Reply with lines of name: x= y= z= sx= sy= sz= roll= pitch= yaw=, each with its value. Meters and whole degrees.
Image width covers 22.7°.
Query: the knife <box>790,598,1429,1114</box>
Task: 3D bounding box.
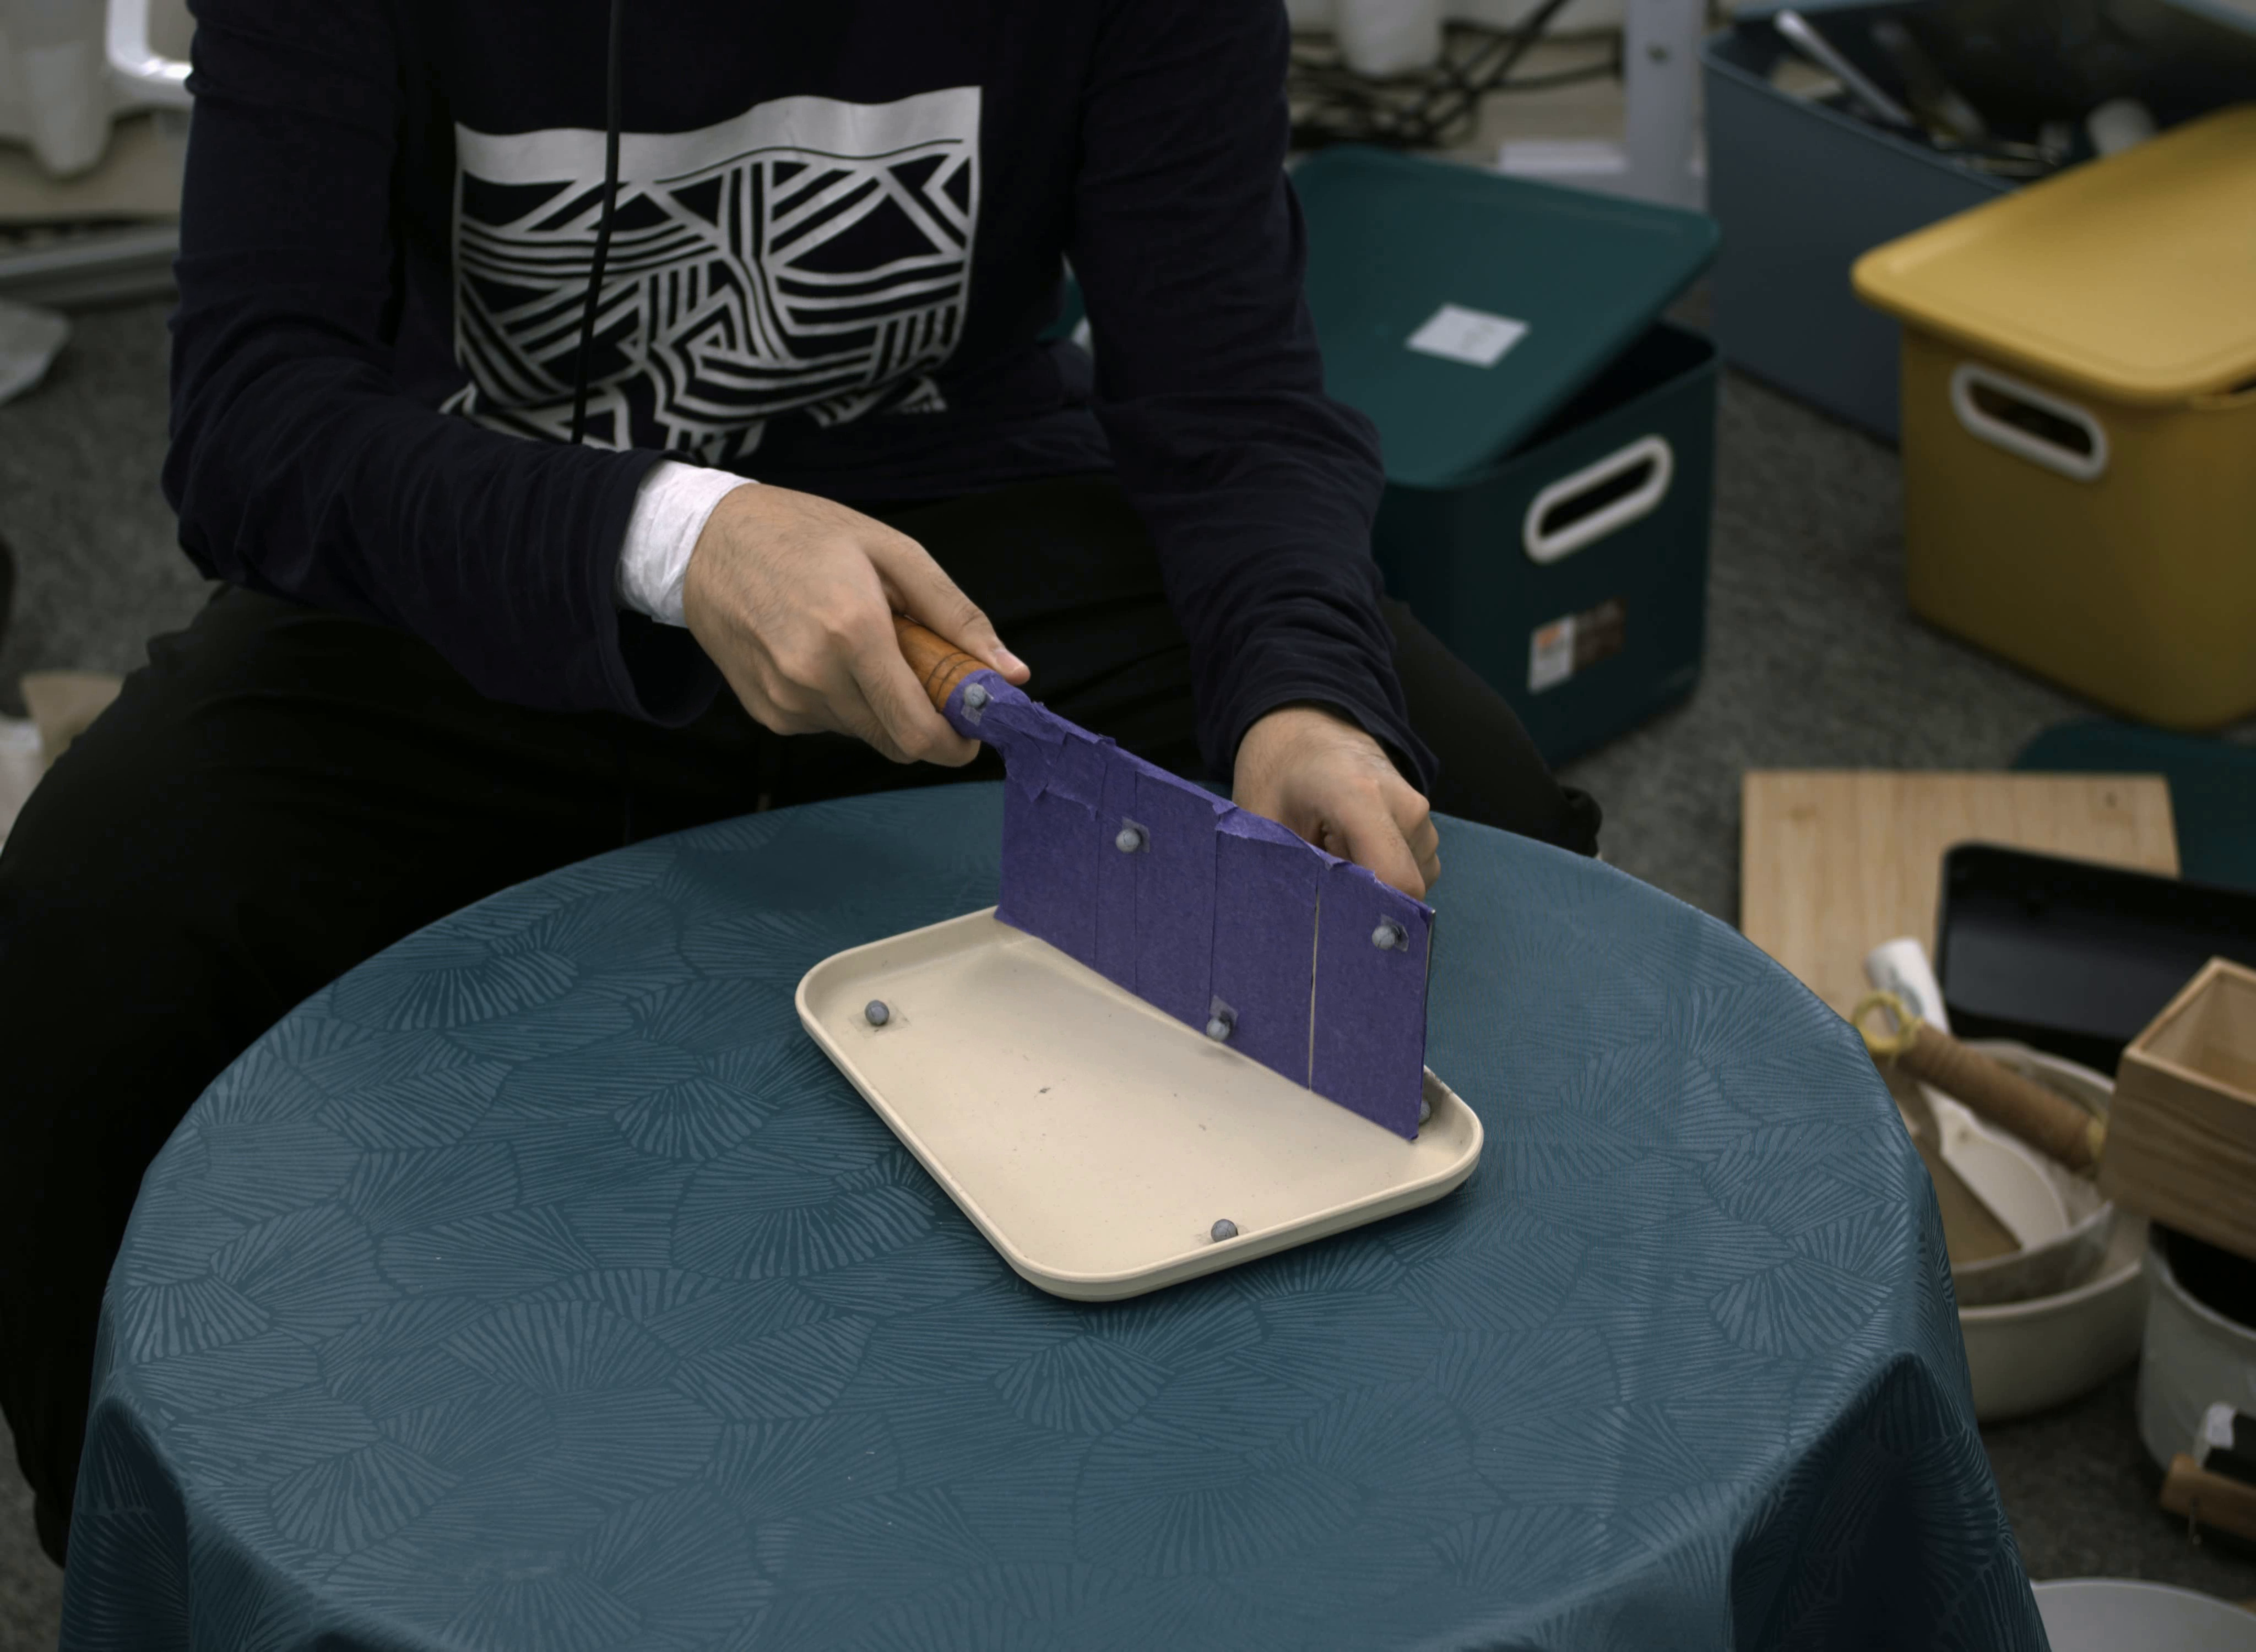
knife: x=-0.011 y=0.011 z=1.947 sx=0.032 sy=0.103 sz=0.315 roll=-15 pitch=31 yaw=-39

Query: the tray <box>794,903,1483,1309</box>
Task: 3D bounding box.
tray: x=0.001 y=0.086 z=1.906 sx=0.172 sy=0.017 sz=0.241 roll=-17 pitch=31 yaw=-20
